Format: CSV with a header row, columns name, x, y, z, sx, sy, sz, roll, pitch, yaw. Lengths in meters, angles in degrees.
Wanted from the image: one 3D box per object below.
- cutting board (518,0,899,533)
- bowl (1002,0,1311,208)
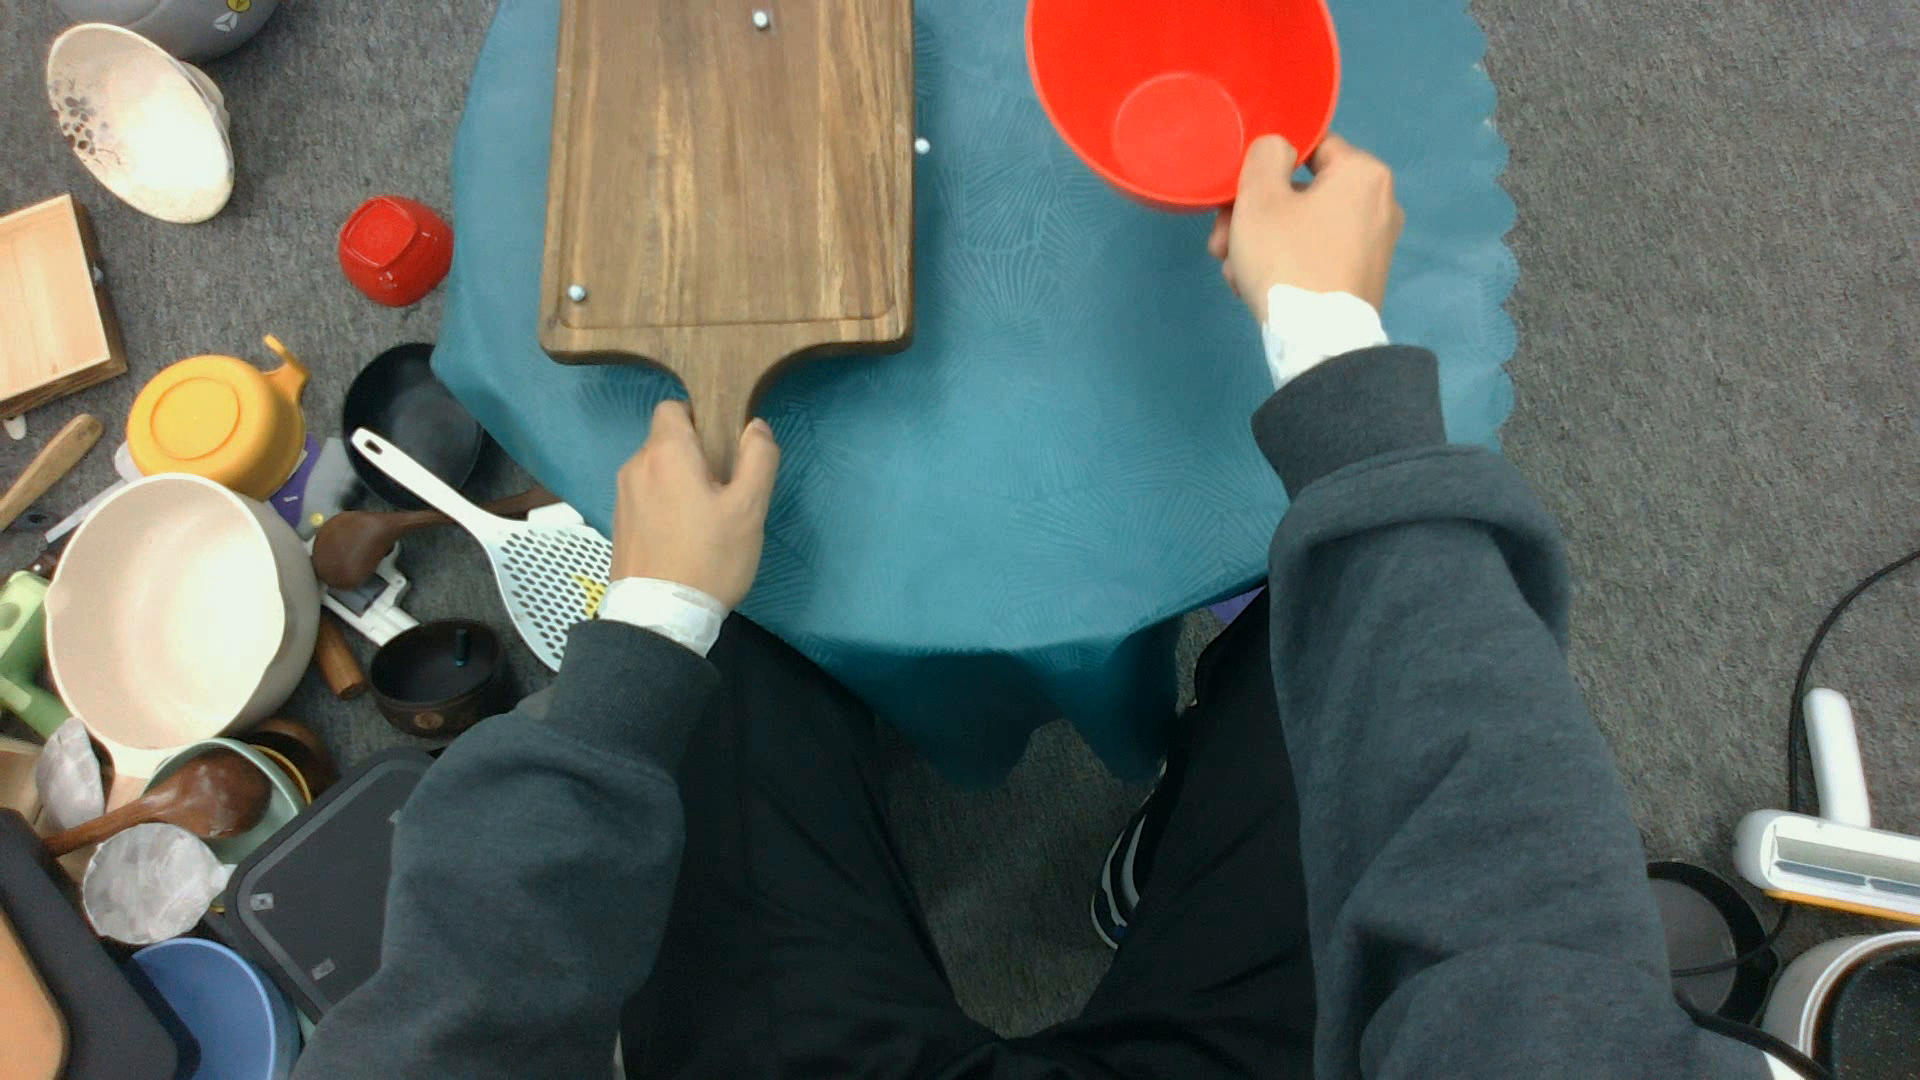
name,x,y,z,sx,sy,sz,roll,pitch,yaw
cutting board,-0.134,-0.175,0.734,0.201,0.023,0.353,-2,75,3
bowl,0.093,-0.223,0.682,0.148,0.104,0.148,0,80,0
